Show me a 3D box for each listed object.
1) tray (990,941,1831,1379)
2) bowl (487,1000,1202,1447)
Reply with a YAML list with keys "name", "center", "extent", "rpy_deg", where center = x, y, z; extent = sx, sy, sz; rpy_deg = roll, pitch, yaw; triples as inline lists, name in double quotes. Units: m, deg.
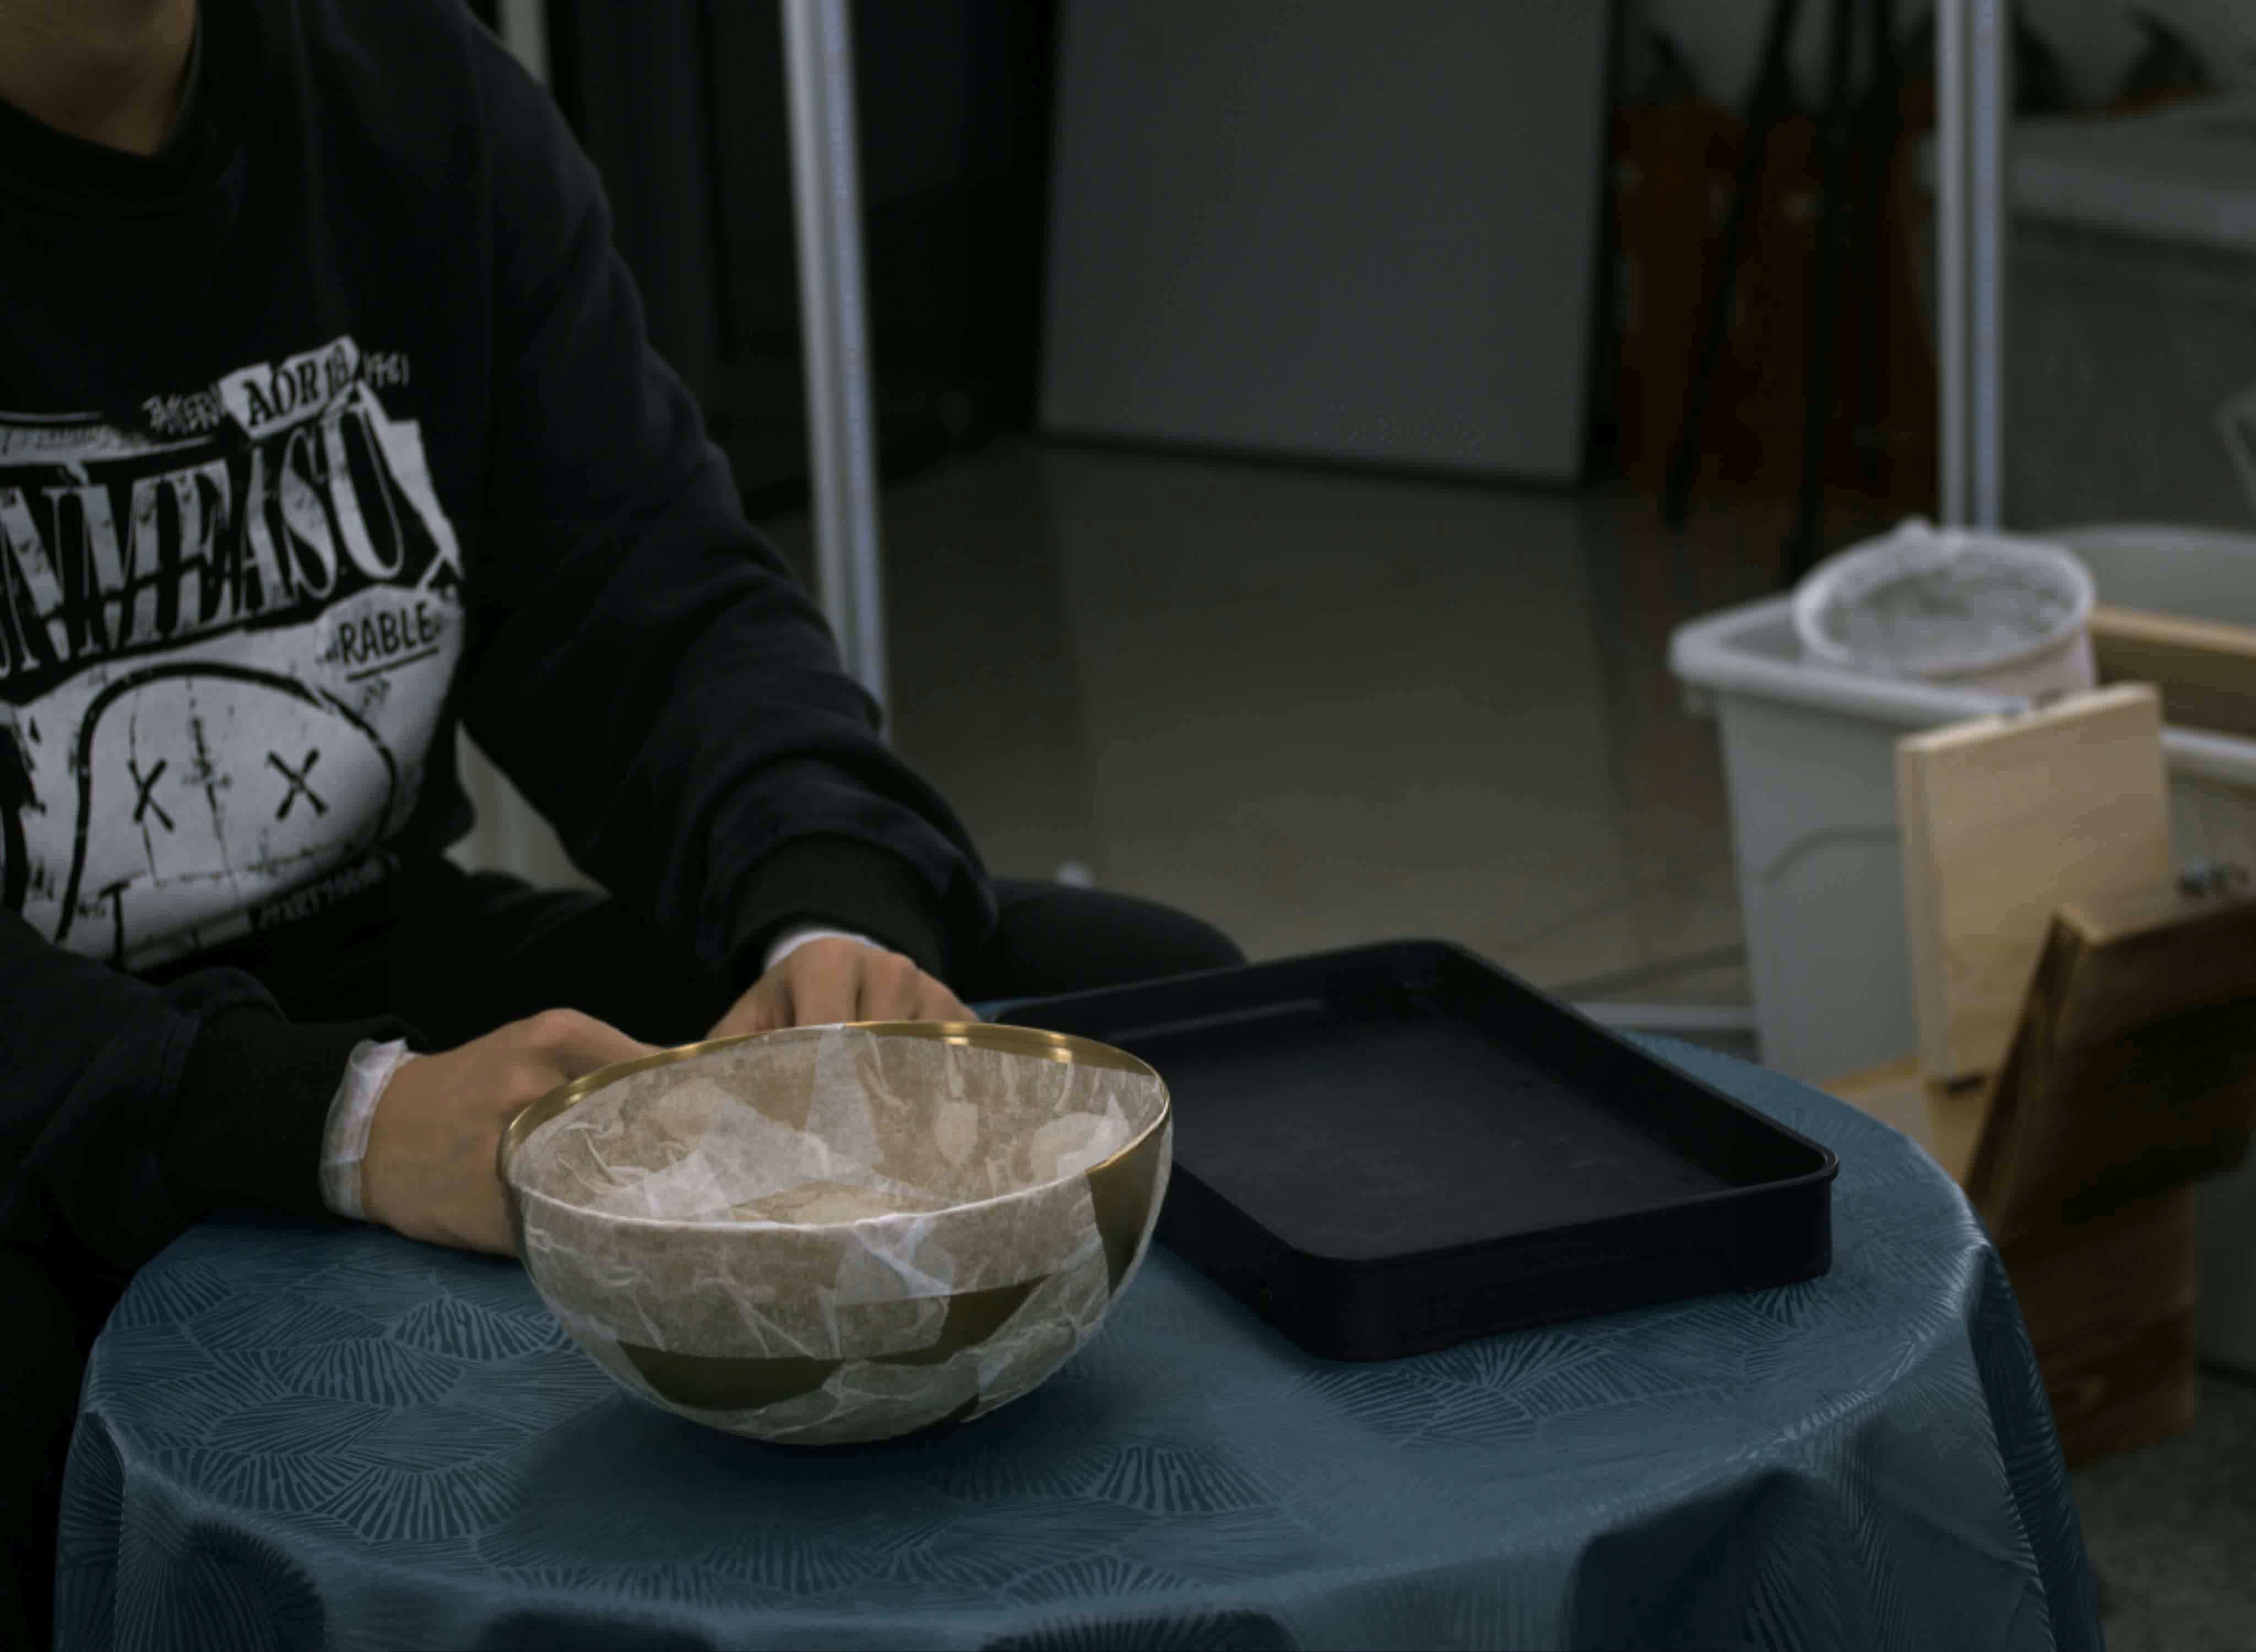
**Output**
- name: "tray"
  center: [0.084, 0.103, 1.756]
  extent: [0.180, 0.037, 0.321]
  rpy_deg: [-8, 16, -18]
- name: "bowl"
  center: [-0.079, 0.125, 1.582]
  extent: [0.212, 0.095, 0.215]
  rpy_deg: [-5, 14, 0]
